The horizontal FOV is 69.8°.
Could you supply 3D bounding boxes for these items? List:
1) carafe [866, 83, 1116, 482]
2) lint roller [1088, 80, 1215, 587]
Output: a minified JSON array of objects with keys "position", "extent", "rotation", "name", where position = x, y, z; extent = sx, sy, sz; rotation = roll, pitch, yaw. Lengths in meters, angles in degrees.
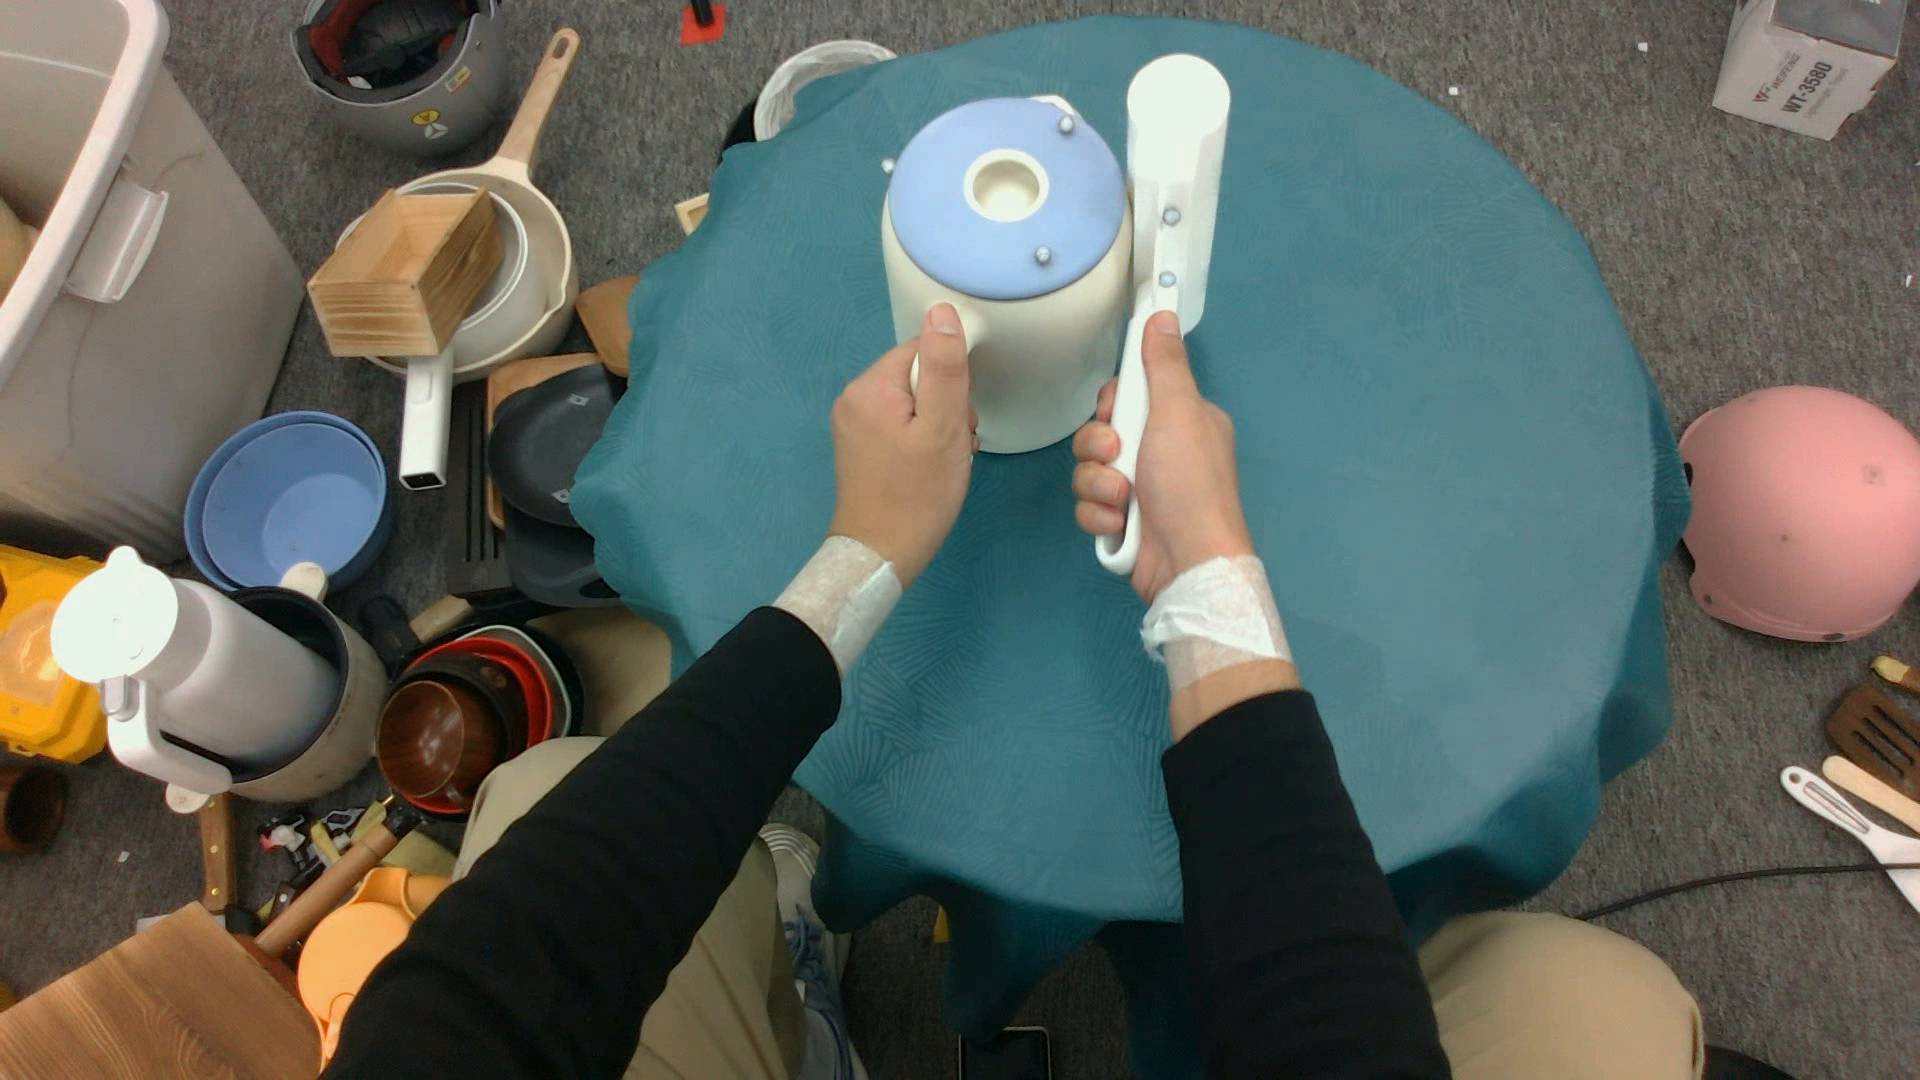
[{"position":[0.008,-0.125,0.754],"extent":[0.132,0.182,0.191],"rotation":[19,72,10],"name":"carafe"},{"position":[0.104,-0.085,0.701],"extent":[0.048,0.202,0.226],"rotation":[-10,71,0],"name":"lint roller"}]
